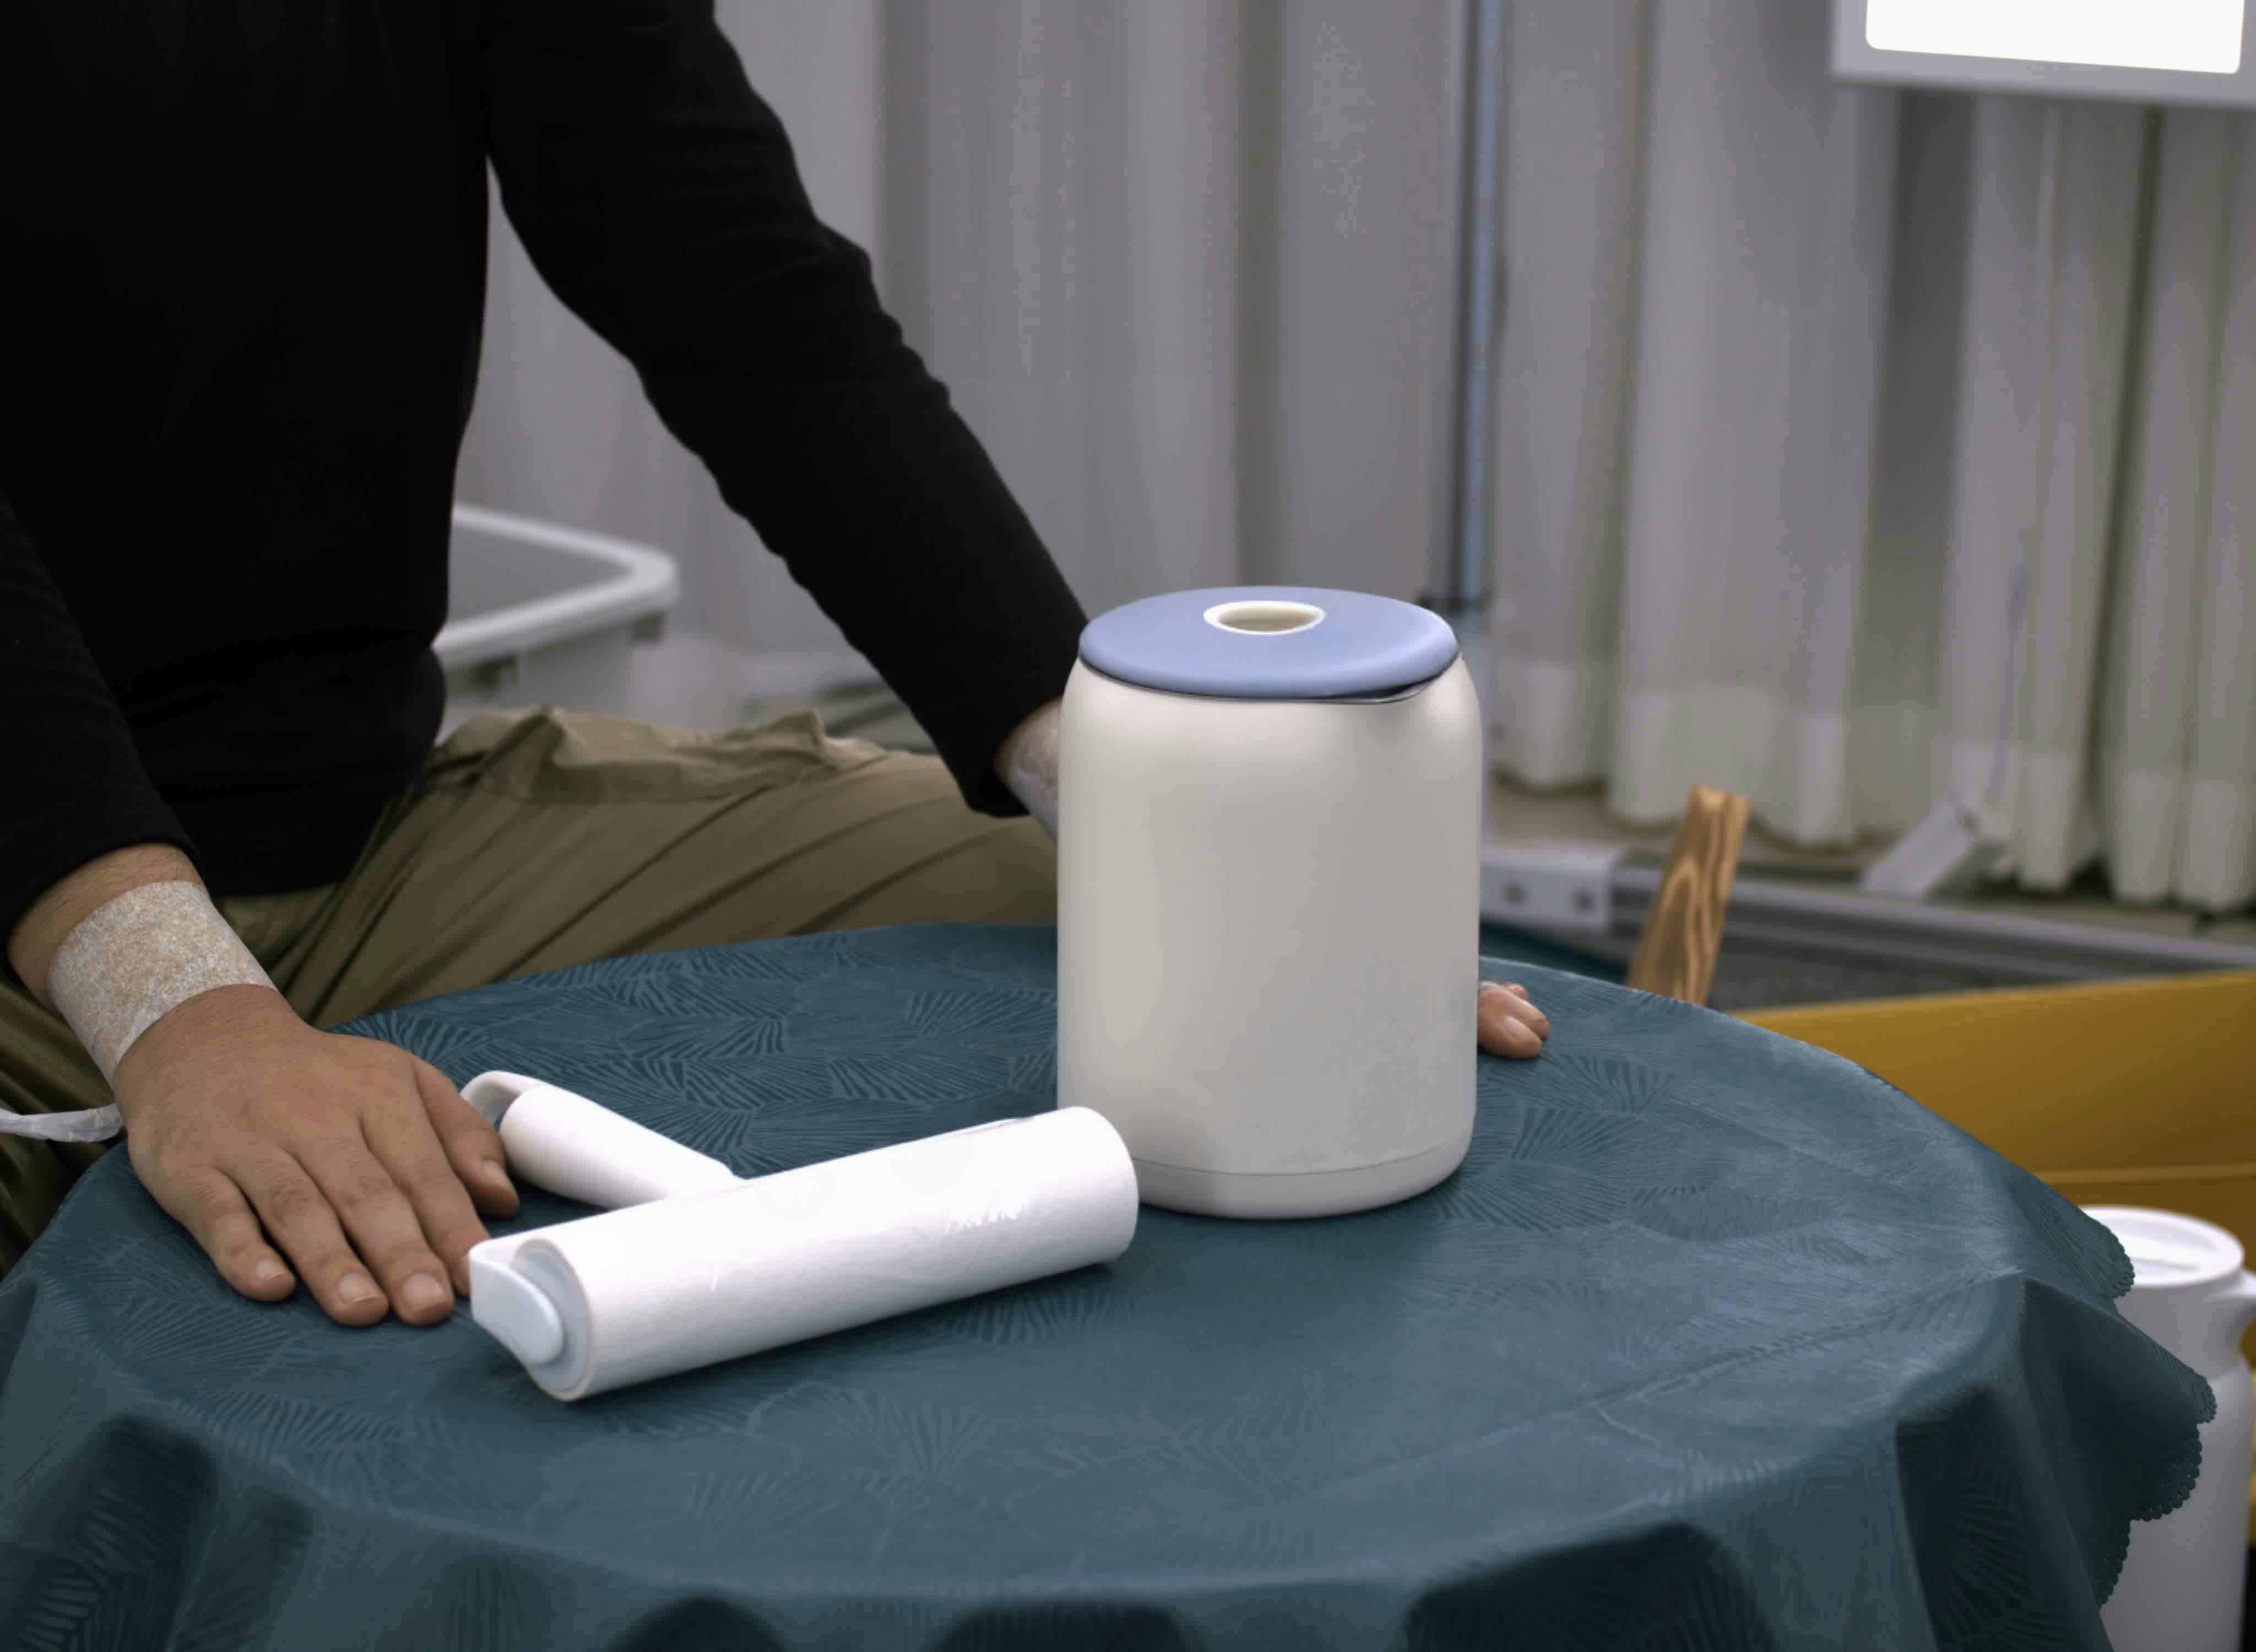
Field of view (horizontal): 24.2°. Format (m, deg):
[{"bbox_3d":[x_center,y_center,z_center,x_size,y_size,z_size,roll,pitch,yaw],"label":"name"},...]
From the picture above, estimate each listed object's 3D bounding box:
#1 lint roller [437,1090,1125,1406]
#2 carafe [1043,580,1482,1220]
[{"bbox_3d":[-0.142,0.104,1.568,0.204,0.049,0.222,-13,19,-37],"label":"lint roller"},{"bbox_3d":[0.030,0.016,1.646,0.133,0.184,0.188,-9,16,-32],"label":"carafe"}]
